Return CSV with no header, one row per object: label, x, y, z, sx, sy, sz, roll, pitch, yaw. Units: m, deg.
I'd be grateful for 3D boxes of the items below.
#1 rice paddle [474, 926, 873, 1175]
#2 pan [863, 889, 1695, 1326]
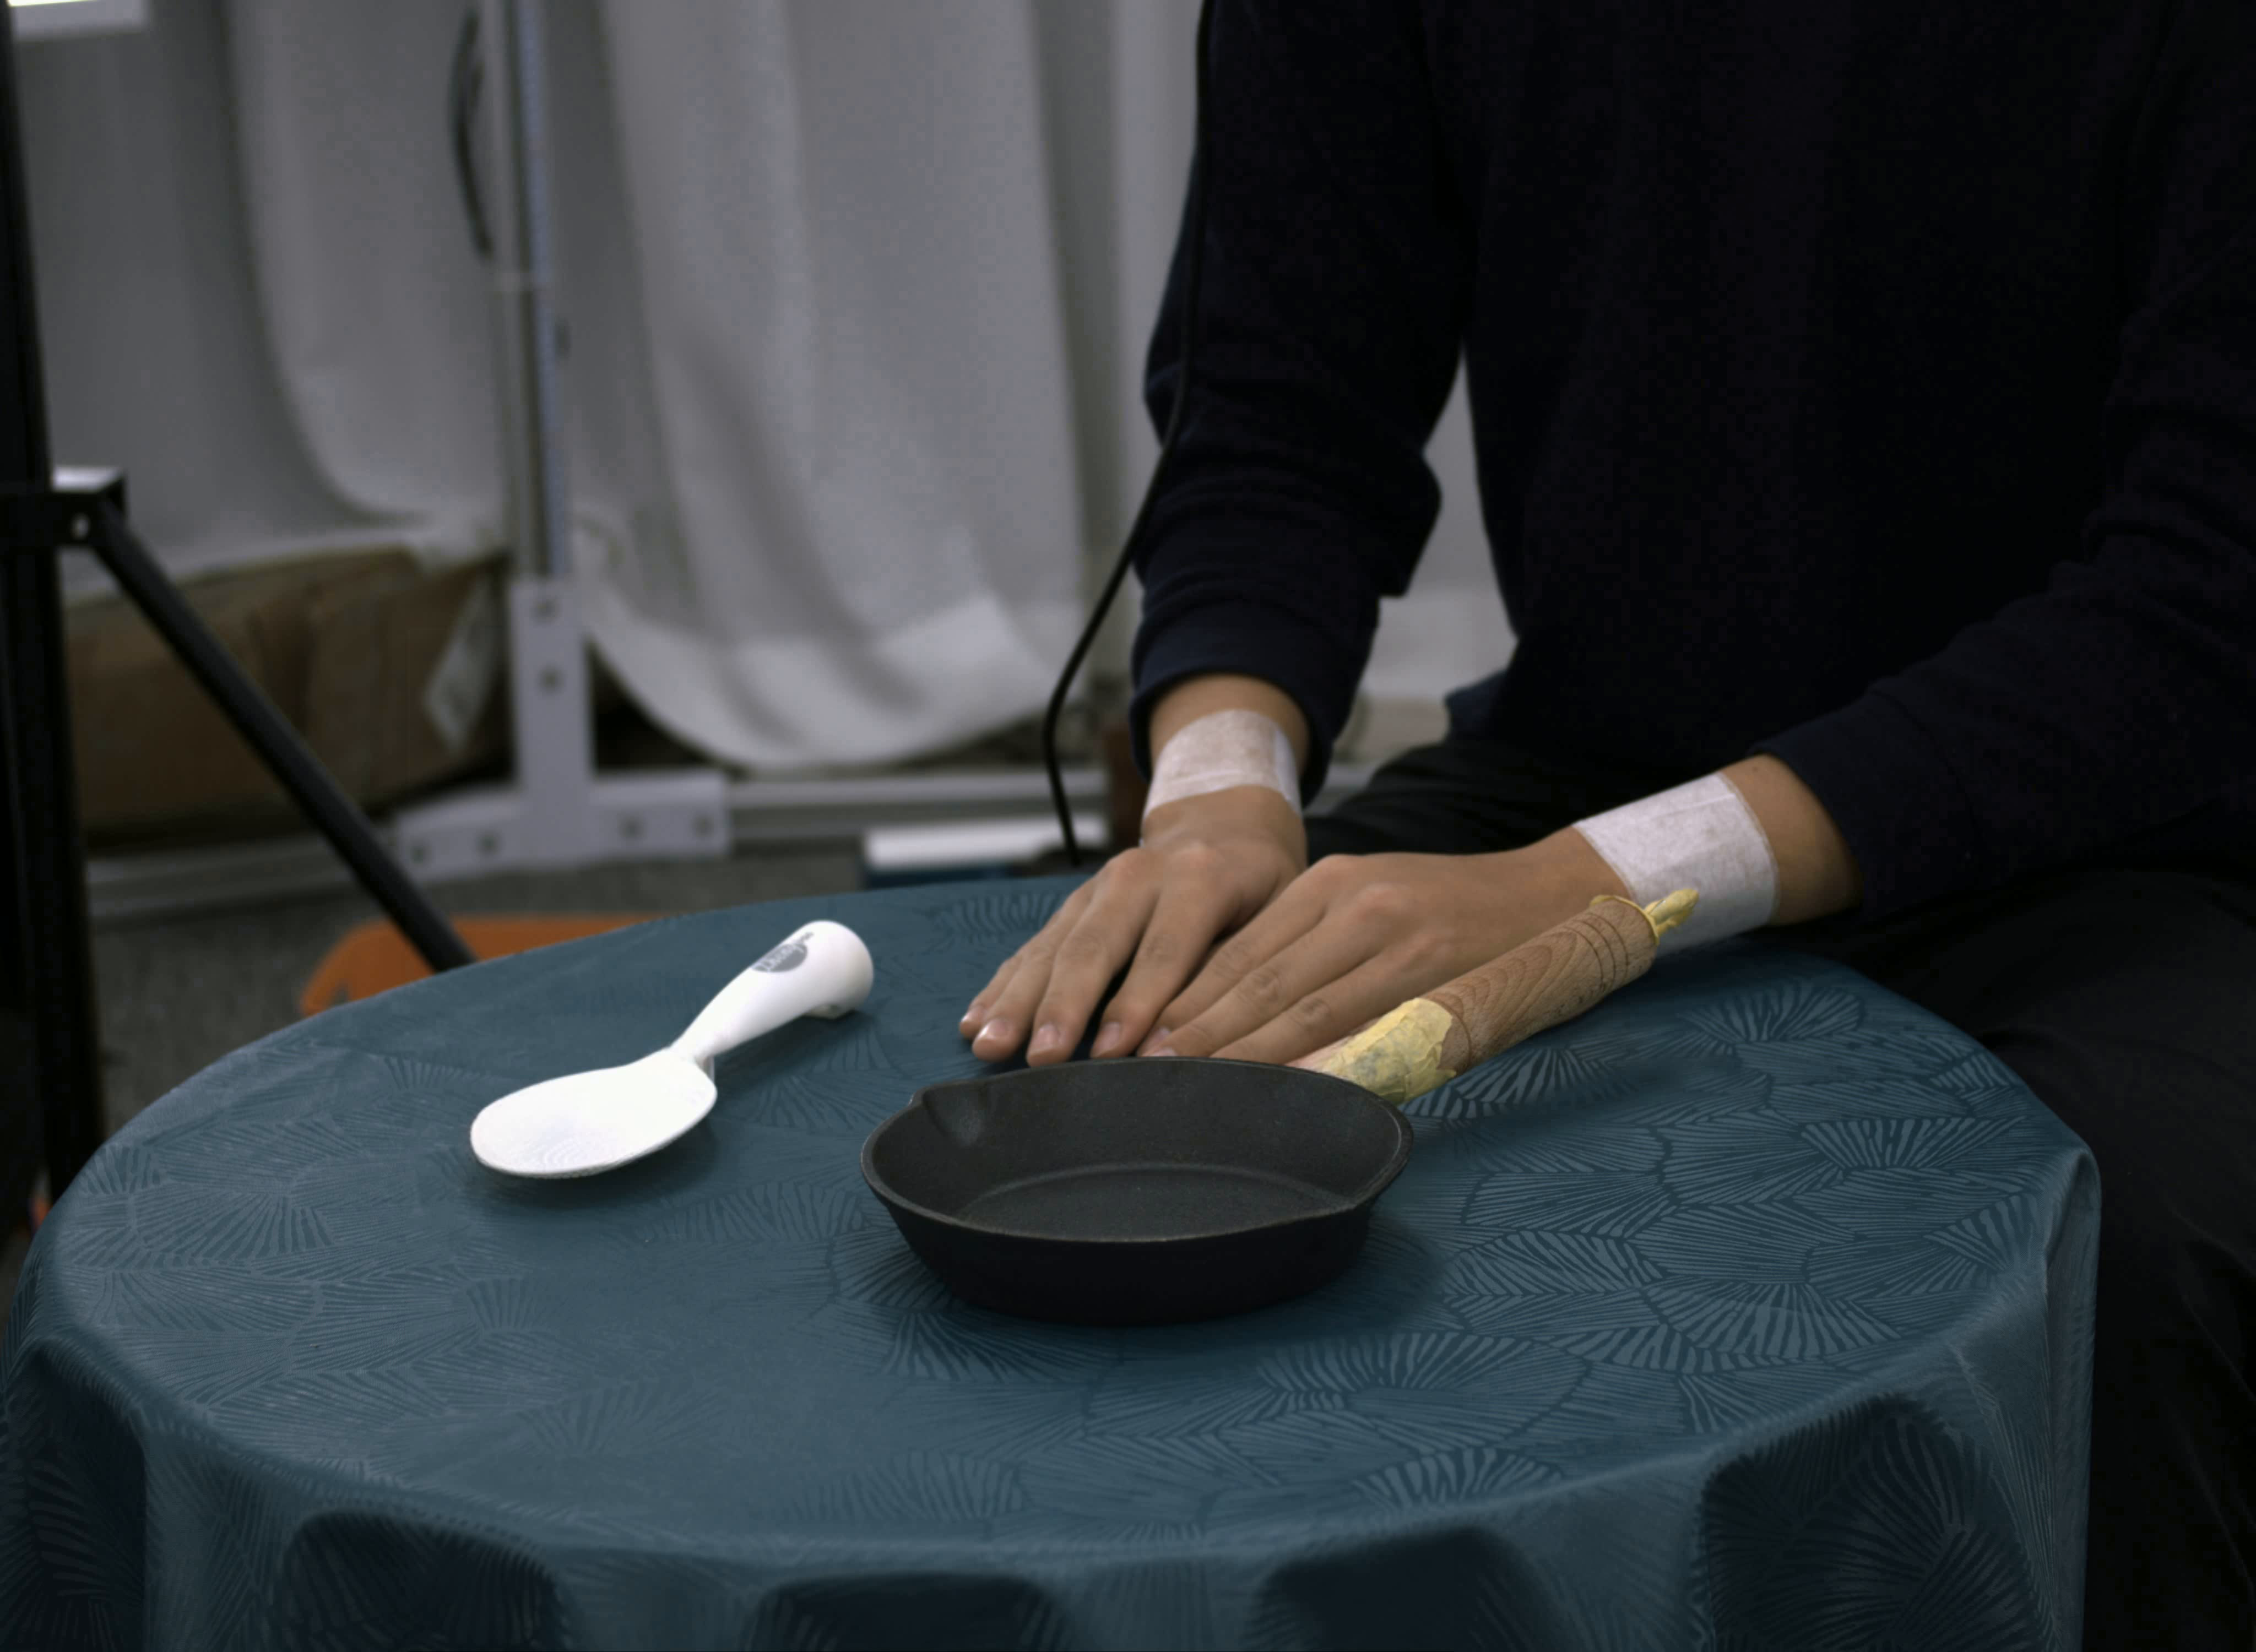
rice paddle,-0.136,0.072,1.655,0.070,0.029,0.202,3,16,24
pan,0.063,0.079,1.558,0.317,0.049,0.173,-18,22,-40
